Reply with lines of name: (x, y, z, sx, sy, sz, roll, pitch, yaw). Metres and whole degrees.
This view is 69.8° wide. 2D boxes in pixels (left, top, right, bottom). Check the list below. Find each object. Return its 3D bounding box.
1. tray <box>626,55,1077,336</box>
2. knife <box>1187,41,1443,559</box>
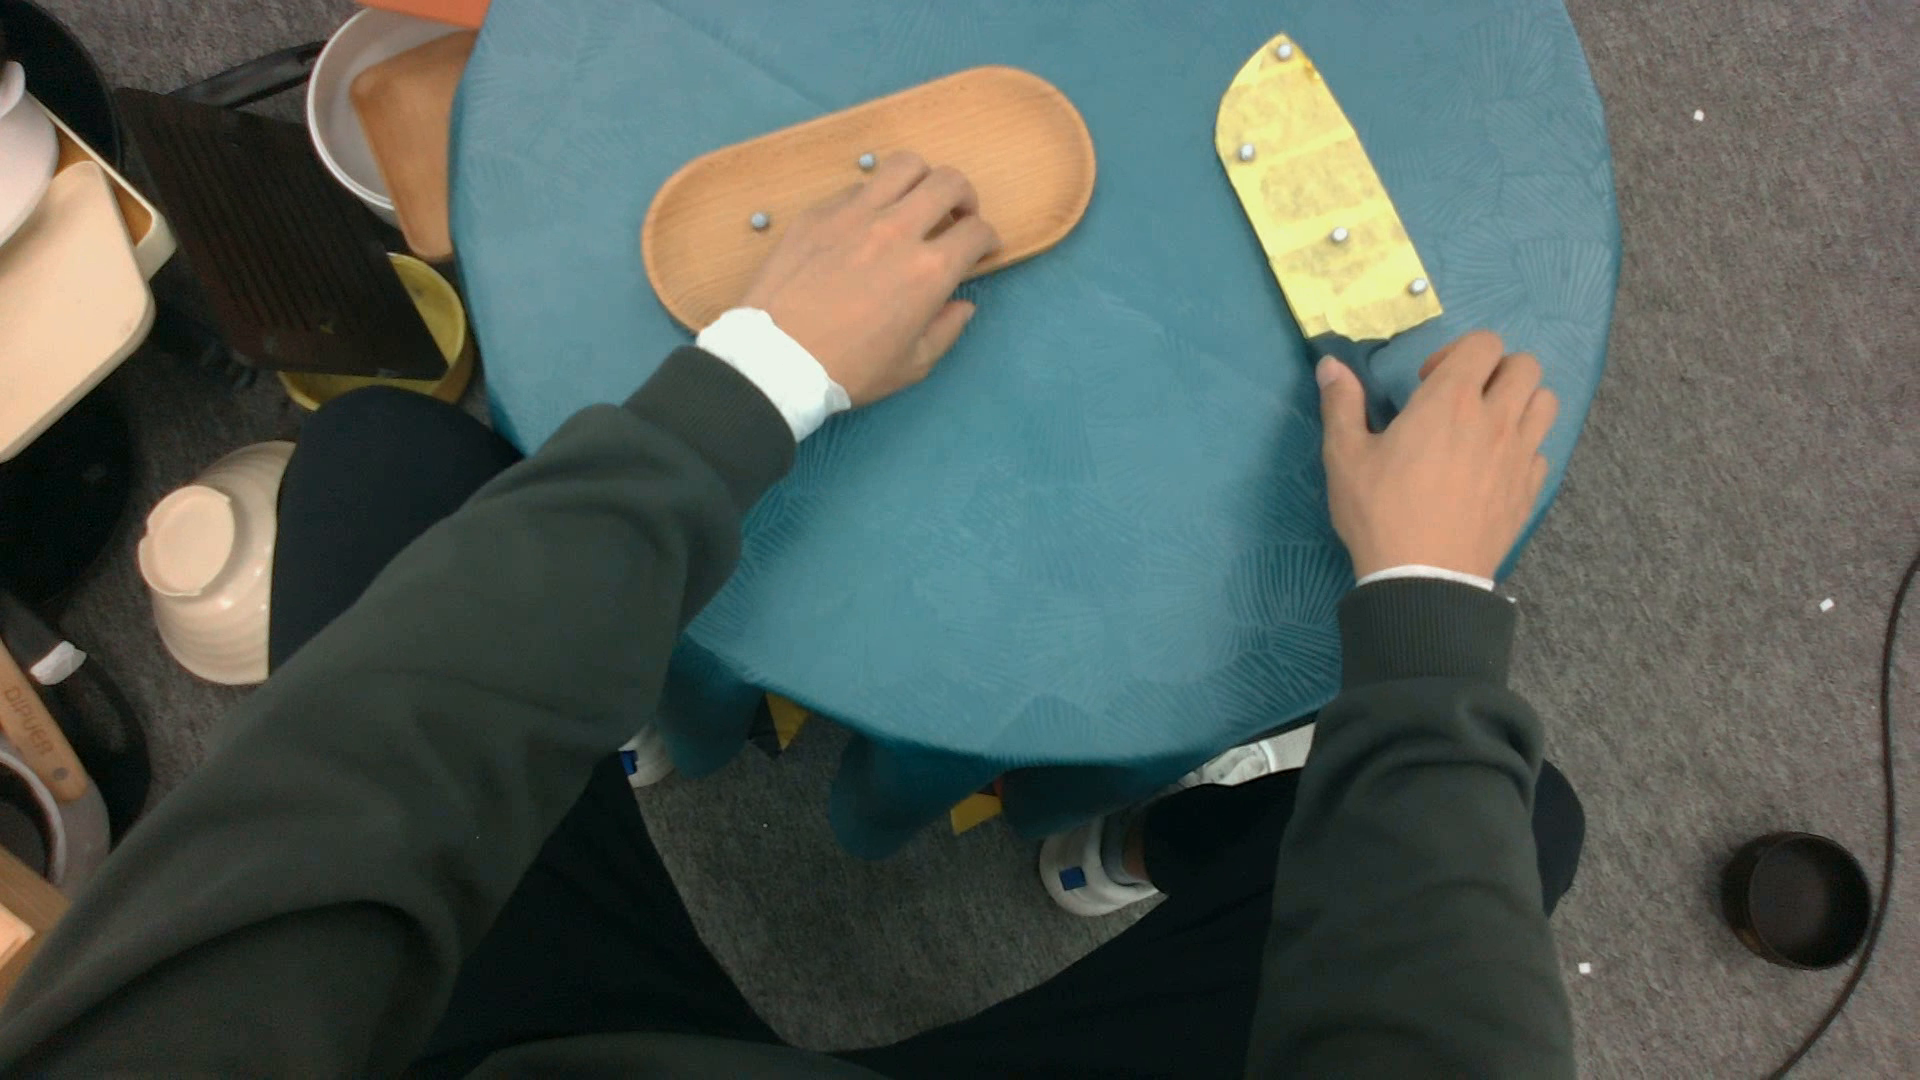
tray: (-0.051, -0.172, 0.686, 0.231, 0.020, 0.102, -21, 85, -12)
knife: (0.192, -0.130, 0.709, 0.081, 0.027, 0.290, -19, 82, -6)
